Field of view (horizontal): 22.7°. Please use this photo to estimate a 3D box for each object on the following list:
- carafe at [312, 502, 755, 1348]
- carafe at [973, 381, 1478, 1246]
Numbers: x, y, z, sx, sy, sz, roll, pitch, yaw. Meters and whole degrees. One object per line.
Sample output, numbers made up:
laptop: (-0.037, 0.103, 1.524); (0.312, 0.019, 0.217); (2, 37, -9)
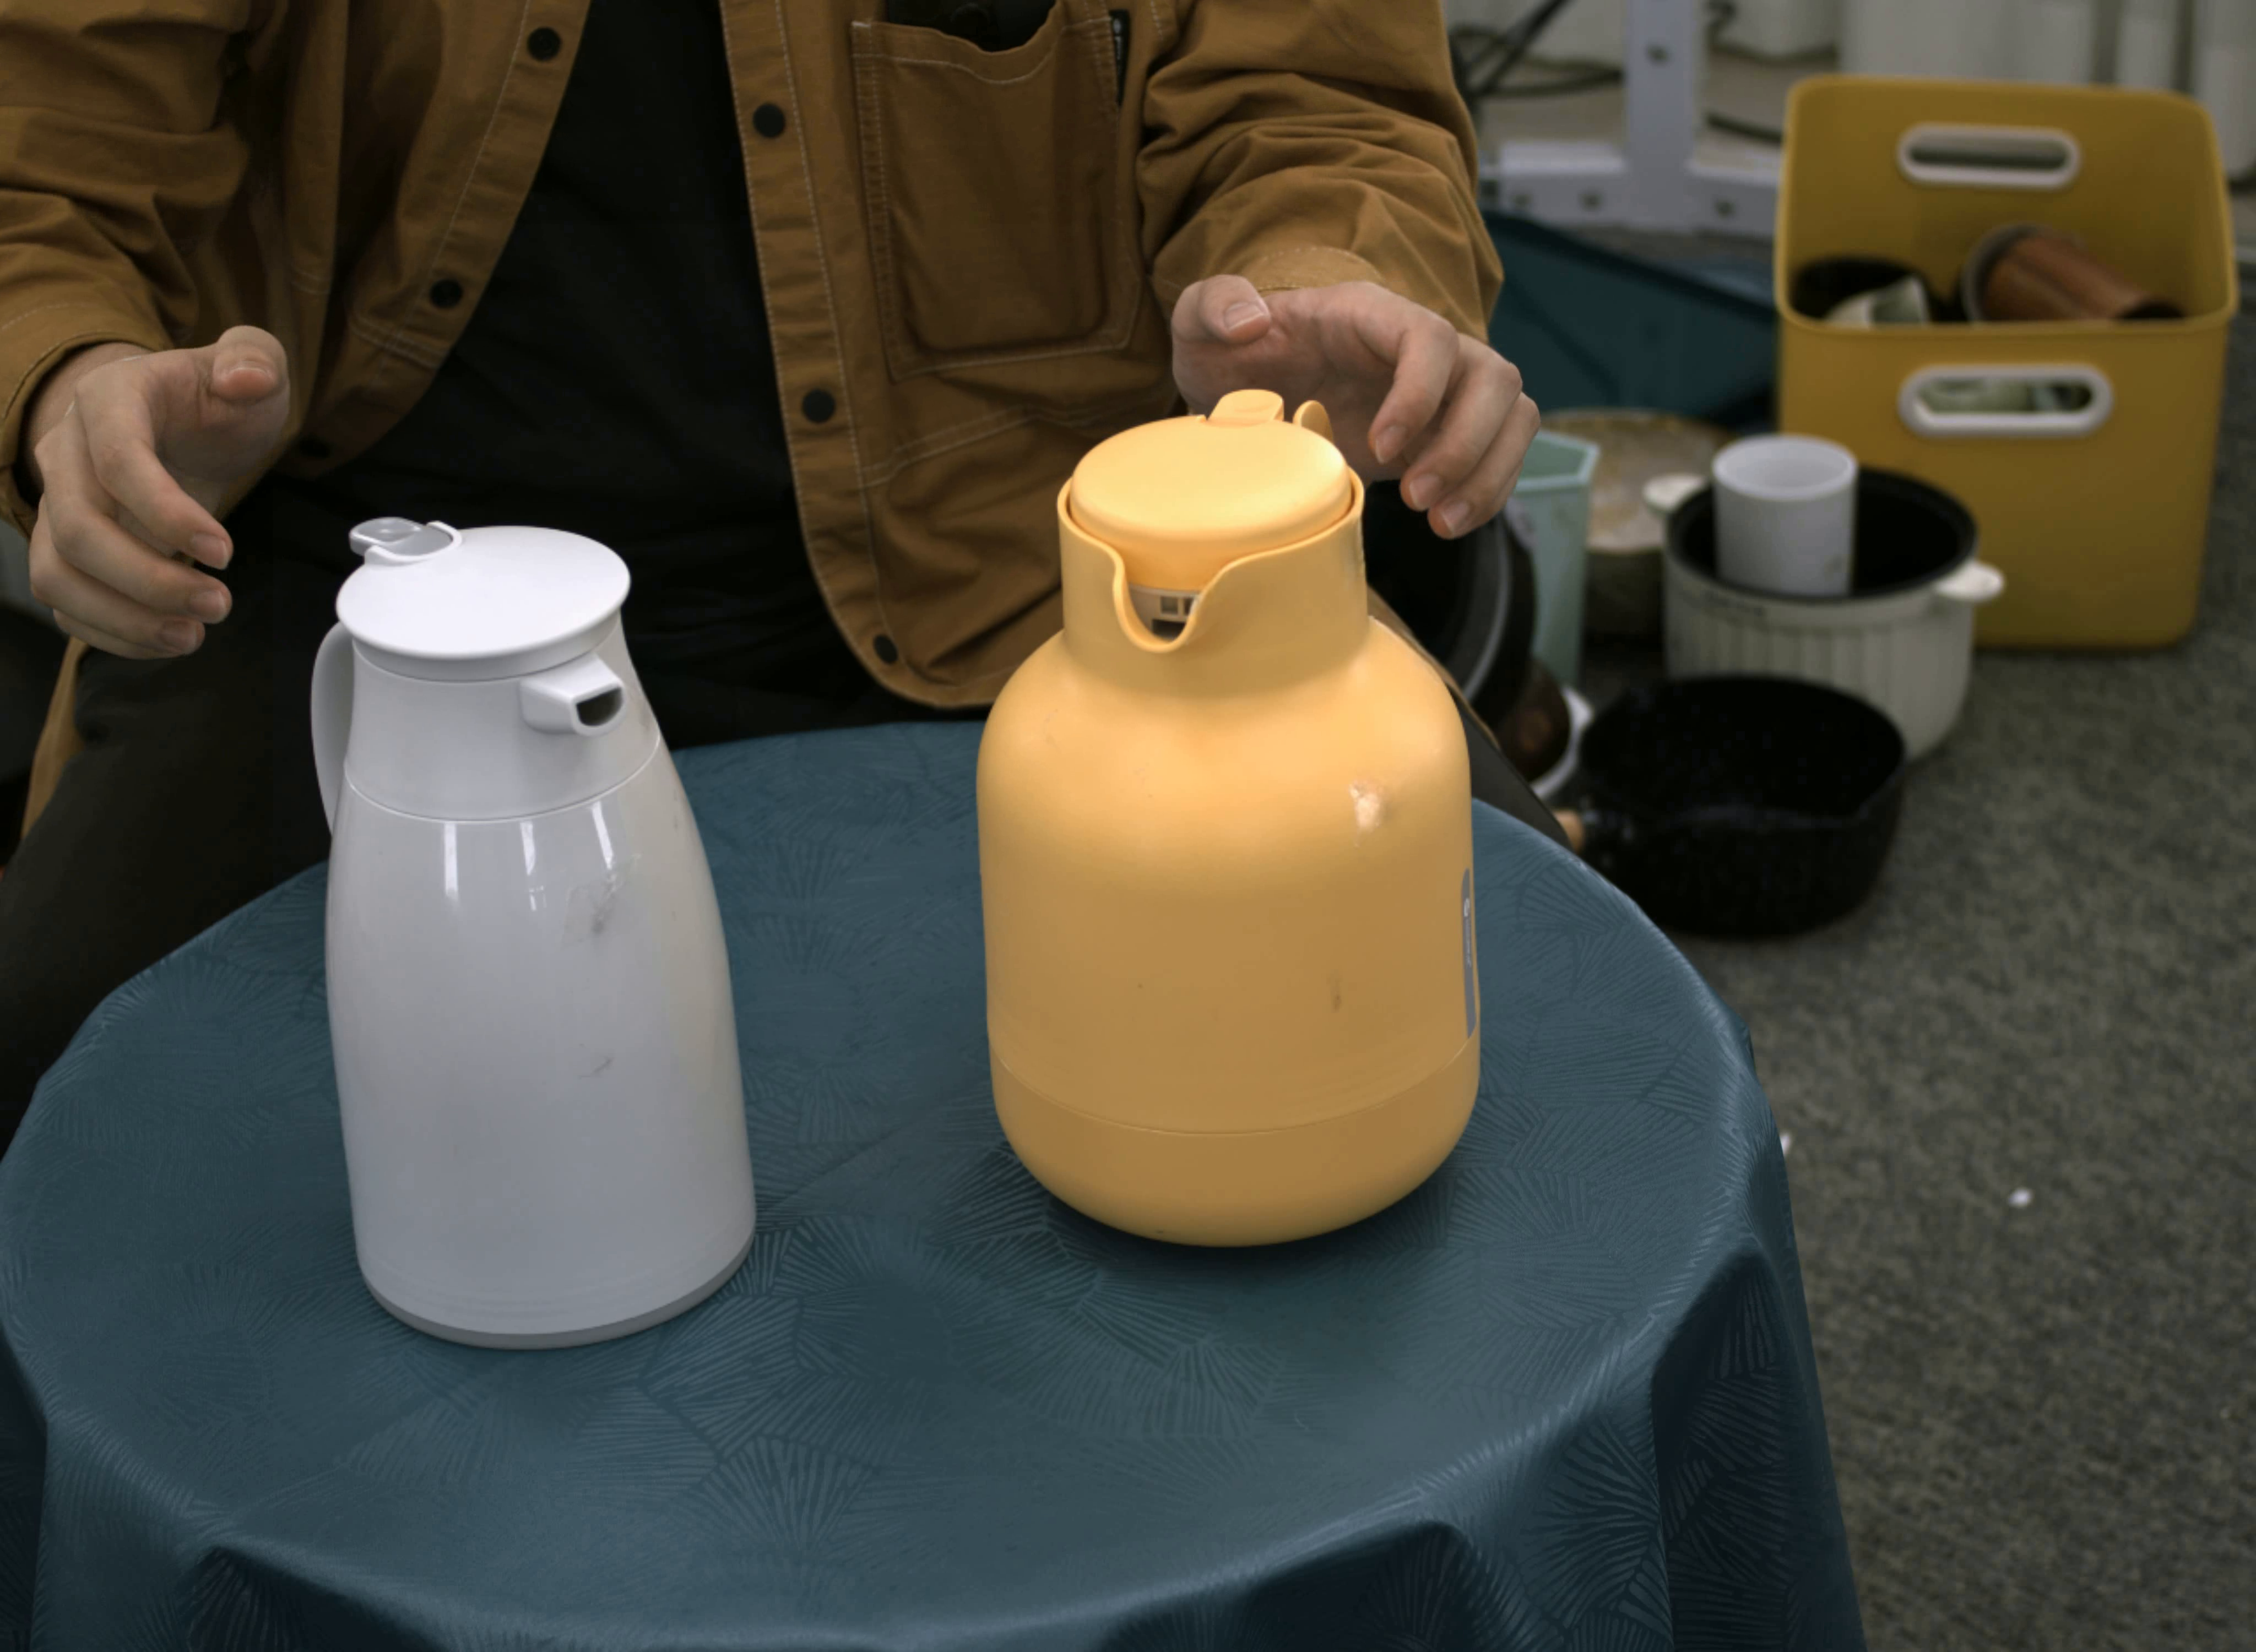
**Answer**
carafe: (-0.207, 0.021, 1.804); (0.134, 0.246, 0.168); (-22, 31, -33)
carafe: (0.037, -0.013, 1.836); (0.162, 0.257, 0.206); (6, 29, 15)
